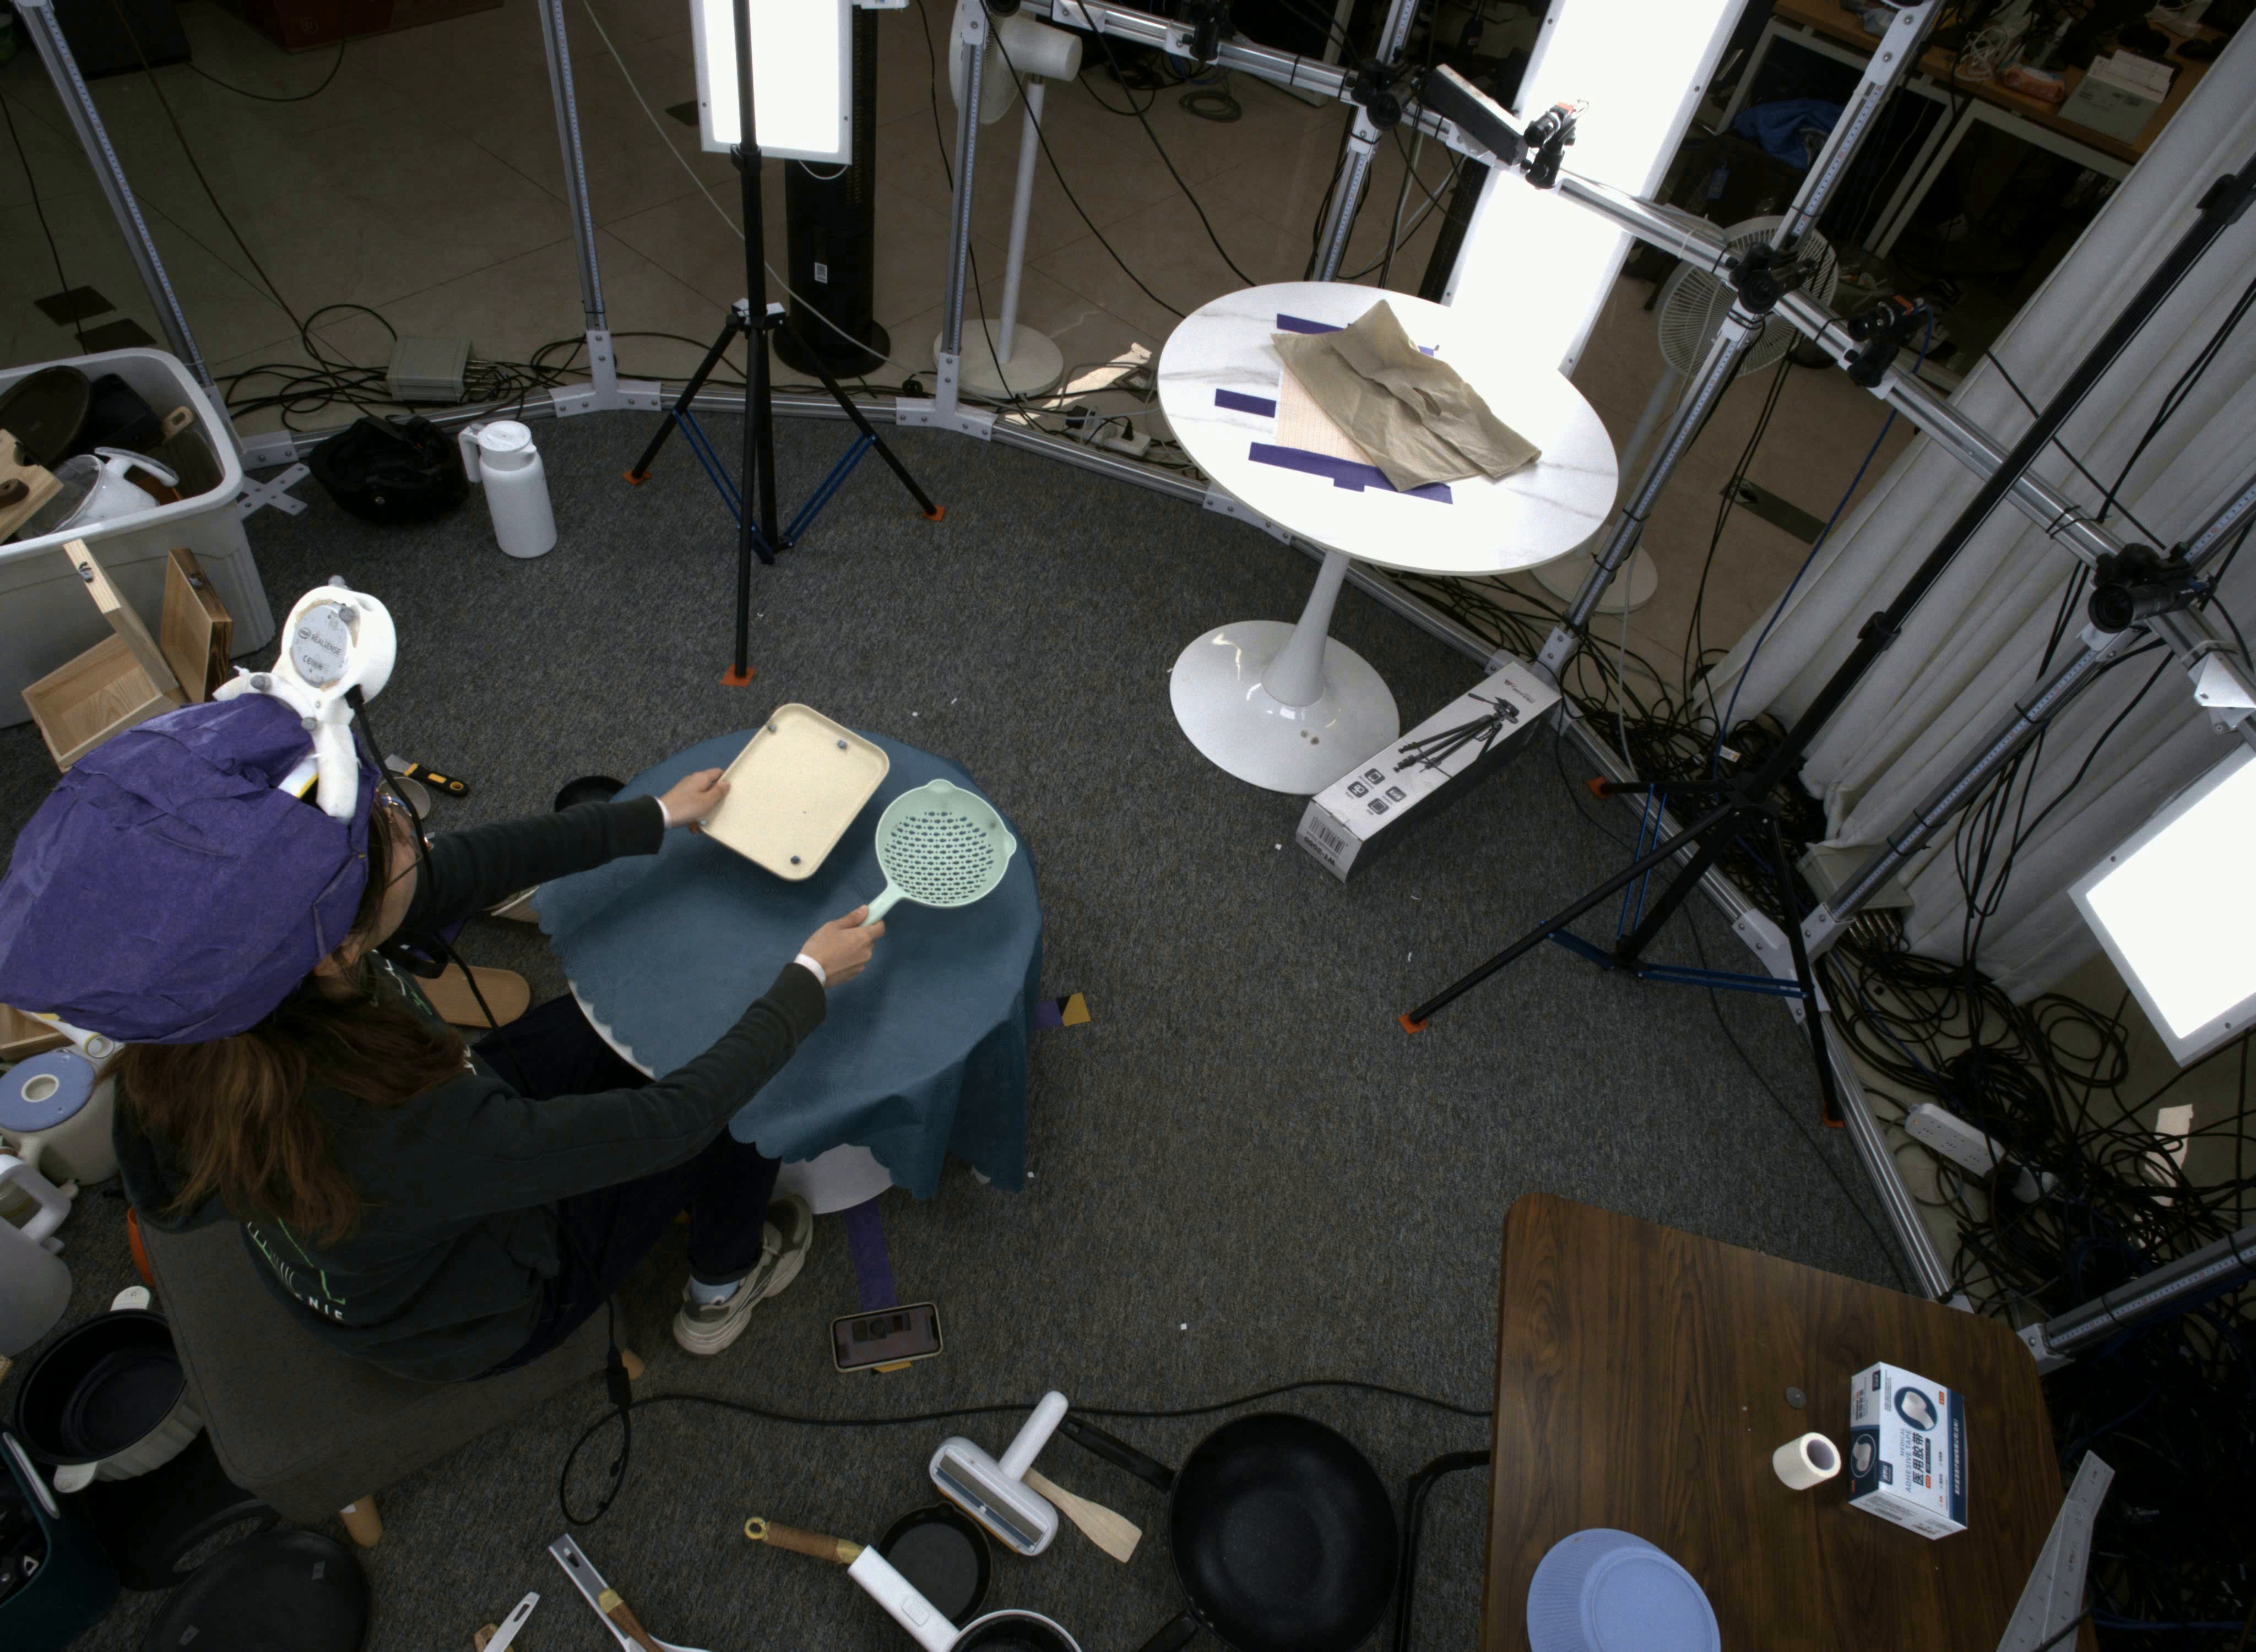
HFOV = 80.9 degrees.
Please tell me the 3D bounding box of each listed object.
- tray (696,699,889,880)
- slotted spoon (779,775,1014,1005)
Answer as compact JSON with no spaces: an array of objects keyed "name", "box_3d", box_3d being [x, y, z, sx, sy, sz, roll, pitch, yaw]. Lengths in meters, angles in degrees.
[{"name":"tray","box_3d":[-0.429,-0.049,1.669,0.171,0.017,0.238,30,55,-3]},{"name":"slotted spoon","box_3d":[-0.293,0.085,1.590,0.168,0.076,0.358,41,50,4]}]
